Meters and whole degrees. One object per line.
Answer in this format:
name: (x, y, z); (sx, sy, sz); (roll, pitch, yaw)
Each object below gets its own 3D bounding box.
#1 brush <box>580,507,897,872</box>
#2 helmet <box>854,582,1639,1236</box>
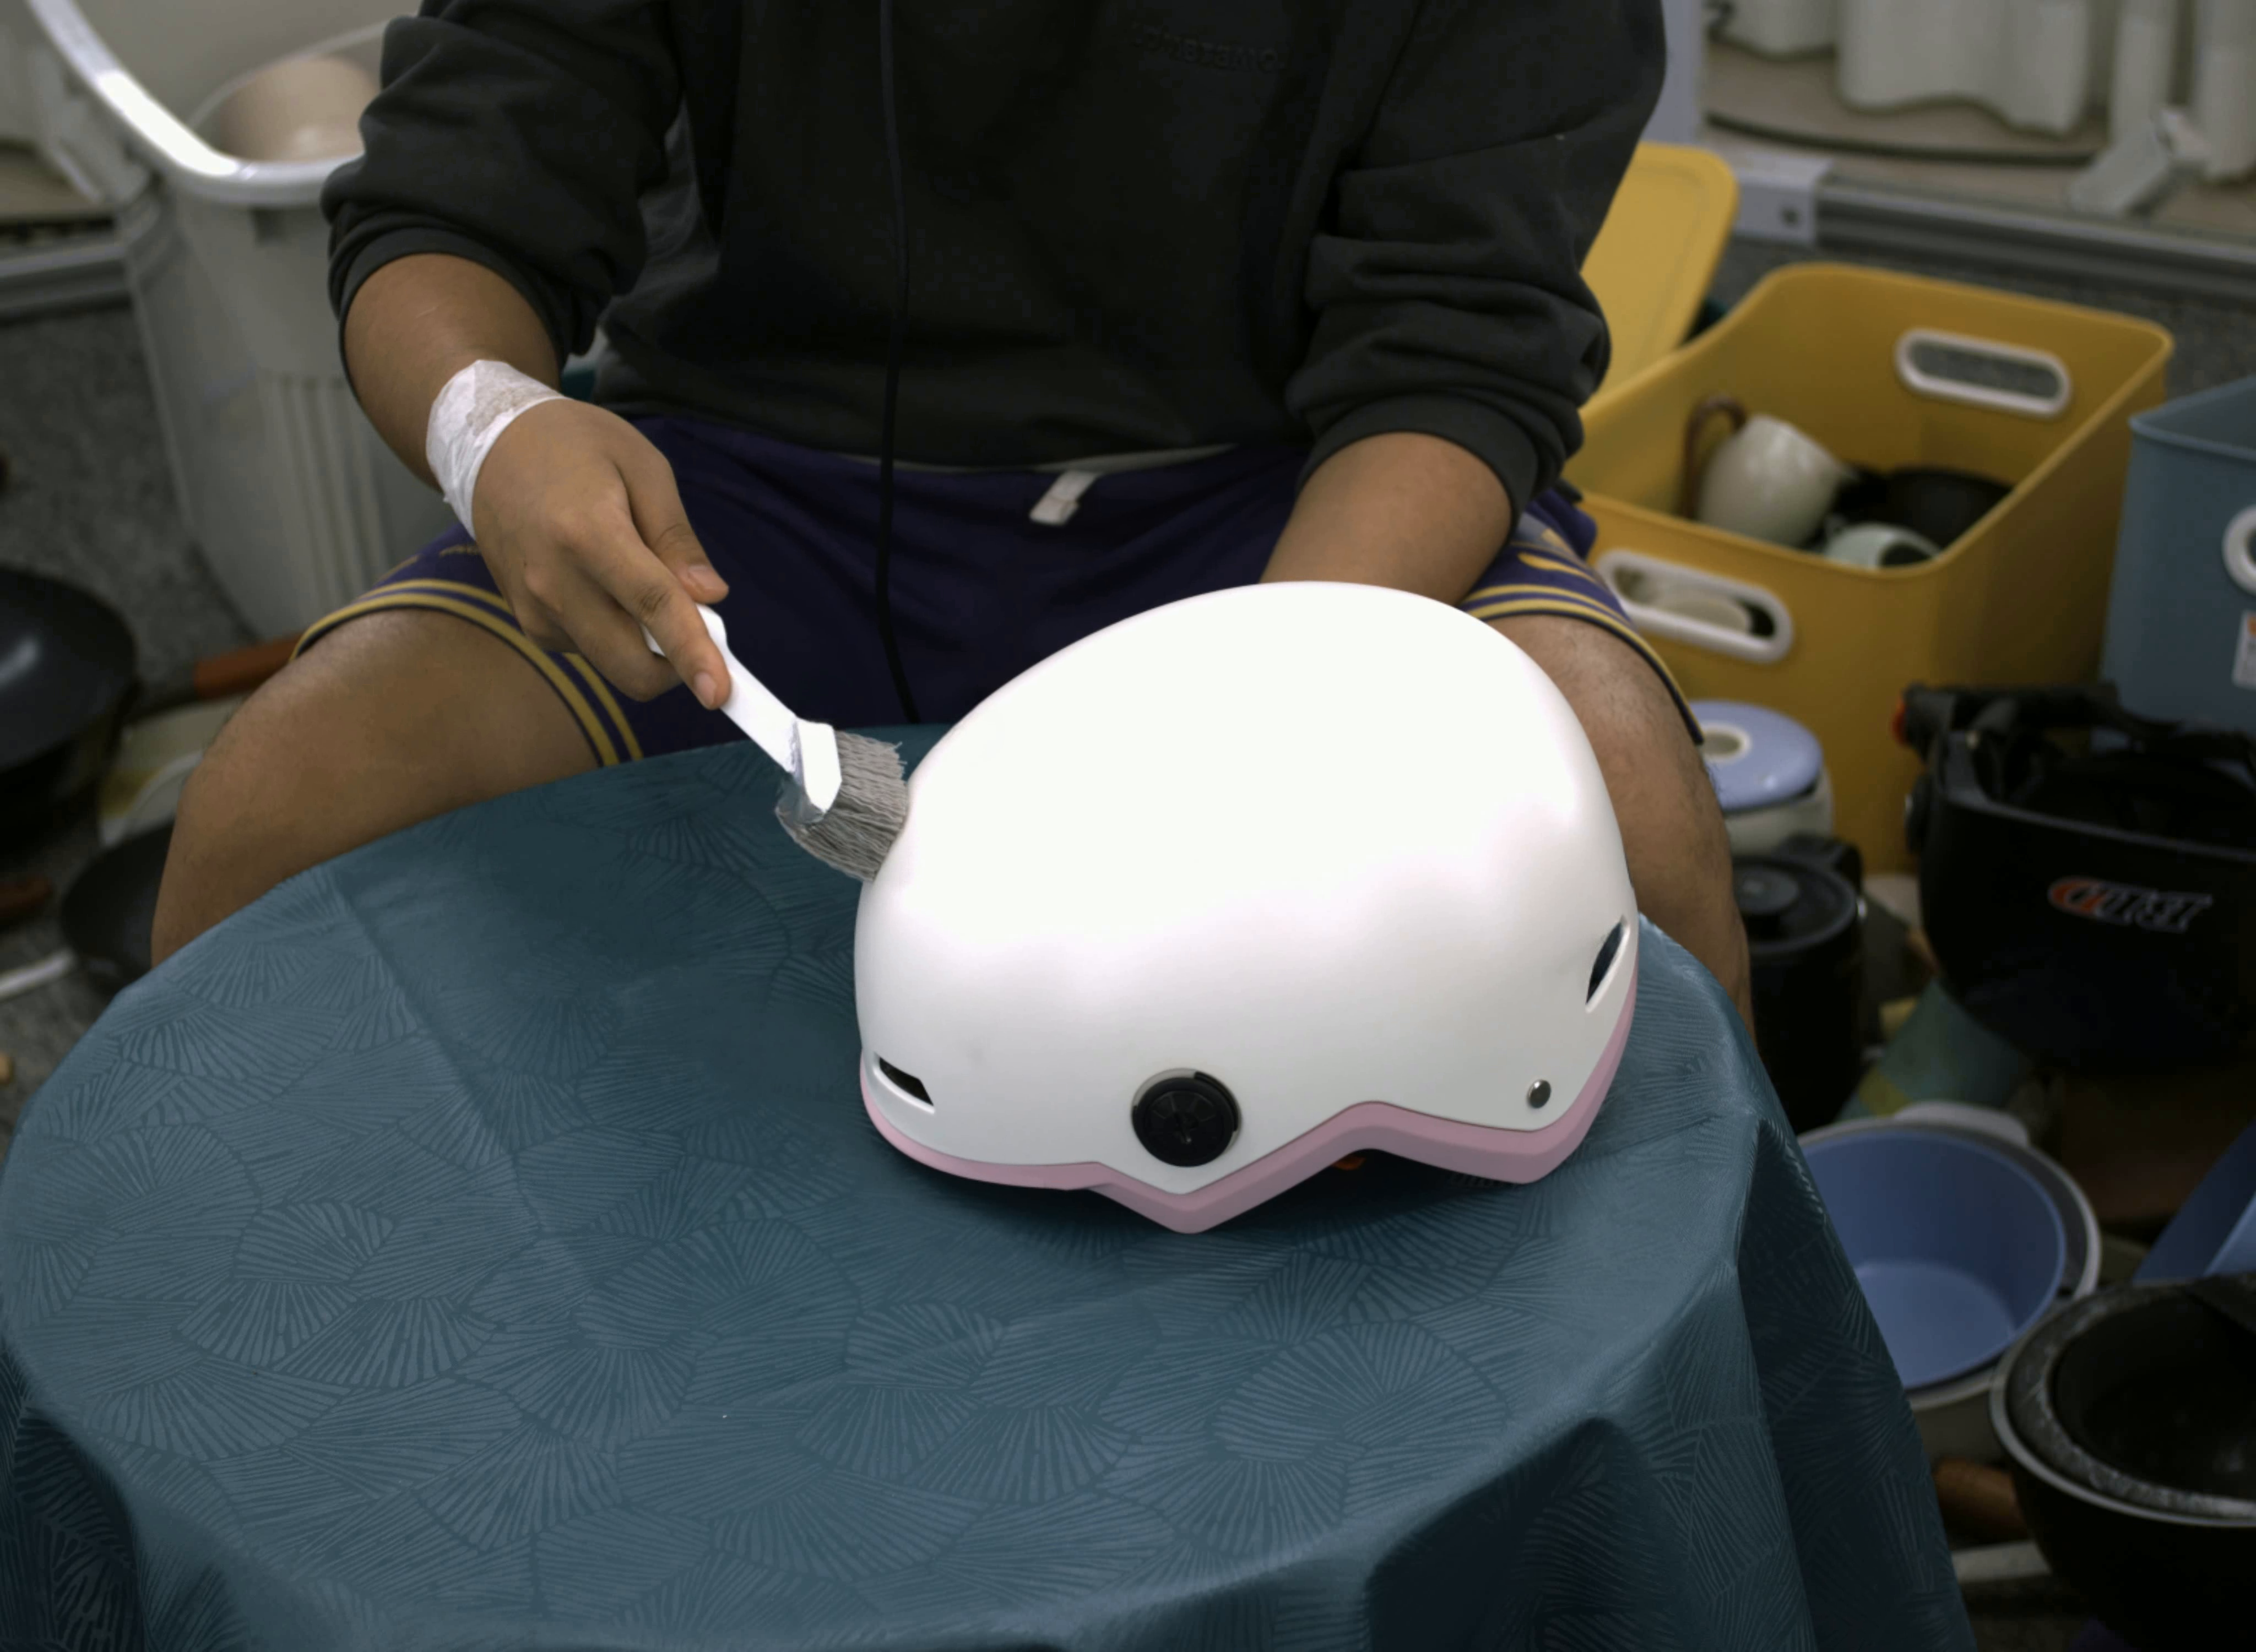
brush: (-0.134, -0.051, 1.970); (0.050, 0.034, 0.245); (15, 19, -30)
helmet: (0.037, 0.010, 1.888); (0.267, 0.165, 0.241); (-2, 30, 1)
